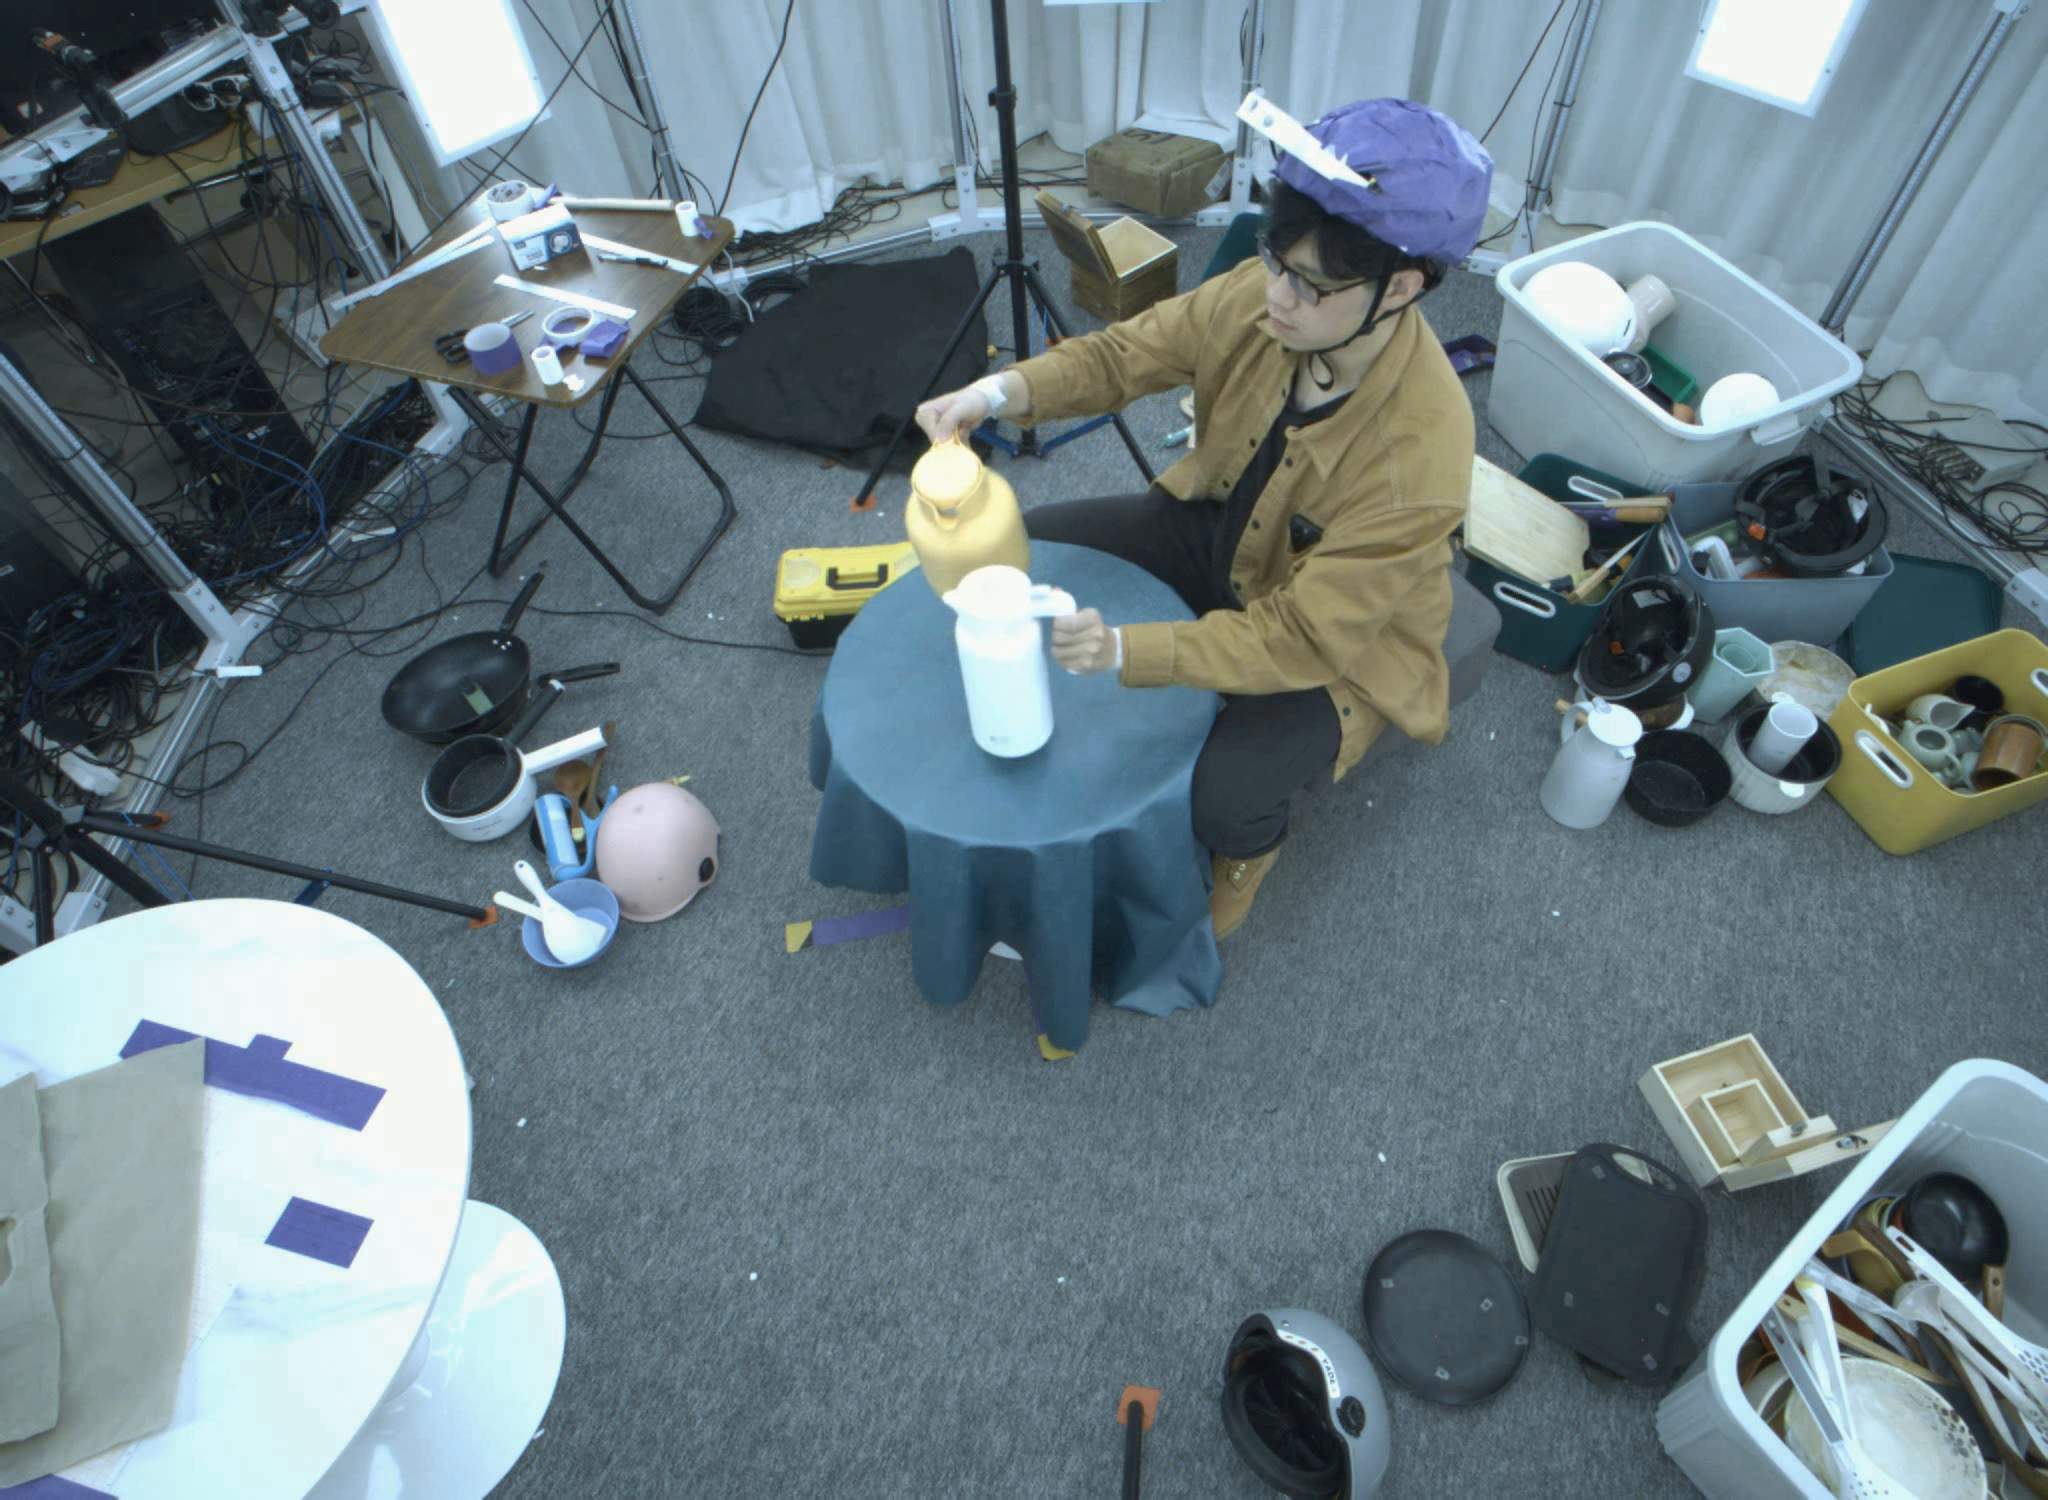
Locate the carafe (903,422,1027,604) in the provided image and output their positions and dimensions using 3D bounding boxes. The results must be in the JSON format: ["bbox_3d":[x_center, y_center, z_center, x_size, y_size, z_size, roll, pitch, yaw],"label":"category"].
[{"bbox_3d":[-0.088,-0.339,1.724,0.163,0.263,0.201,-1,69,5],"label":"carafe"}]

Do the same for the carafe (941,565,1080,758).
[{"bbox_3d":[-0.011,-0.117,1.662,0.172,0.272,0.122,-2,47,4],"label":"carafe"}]
